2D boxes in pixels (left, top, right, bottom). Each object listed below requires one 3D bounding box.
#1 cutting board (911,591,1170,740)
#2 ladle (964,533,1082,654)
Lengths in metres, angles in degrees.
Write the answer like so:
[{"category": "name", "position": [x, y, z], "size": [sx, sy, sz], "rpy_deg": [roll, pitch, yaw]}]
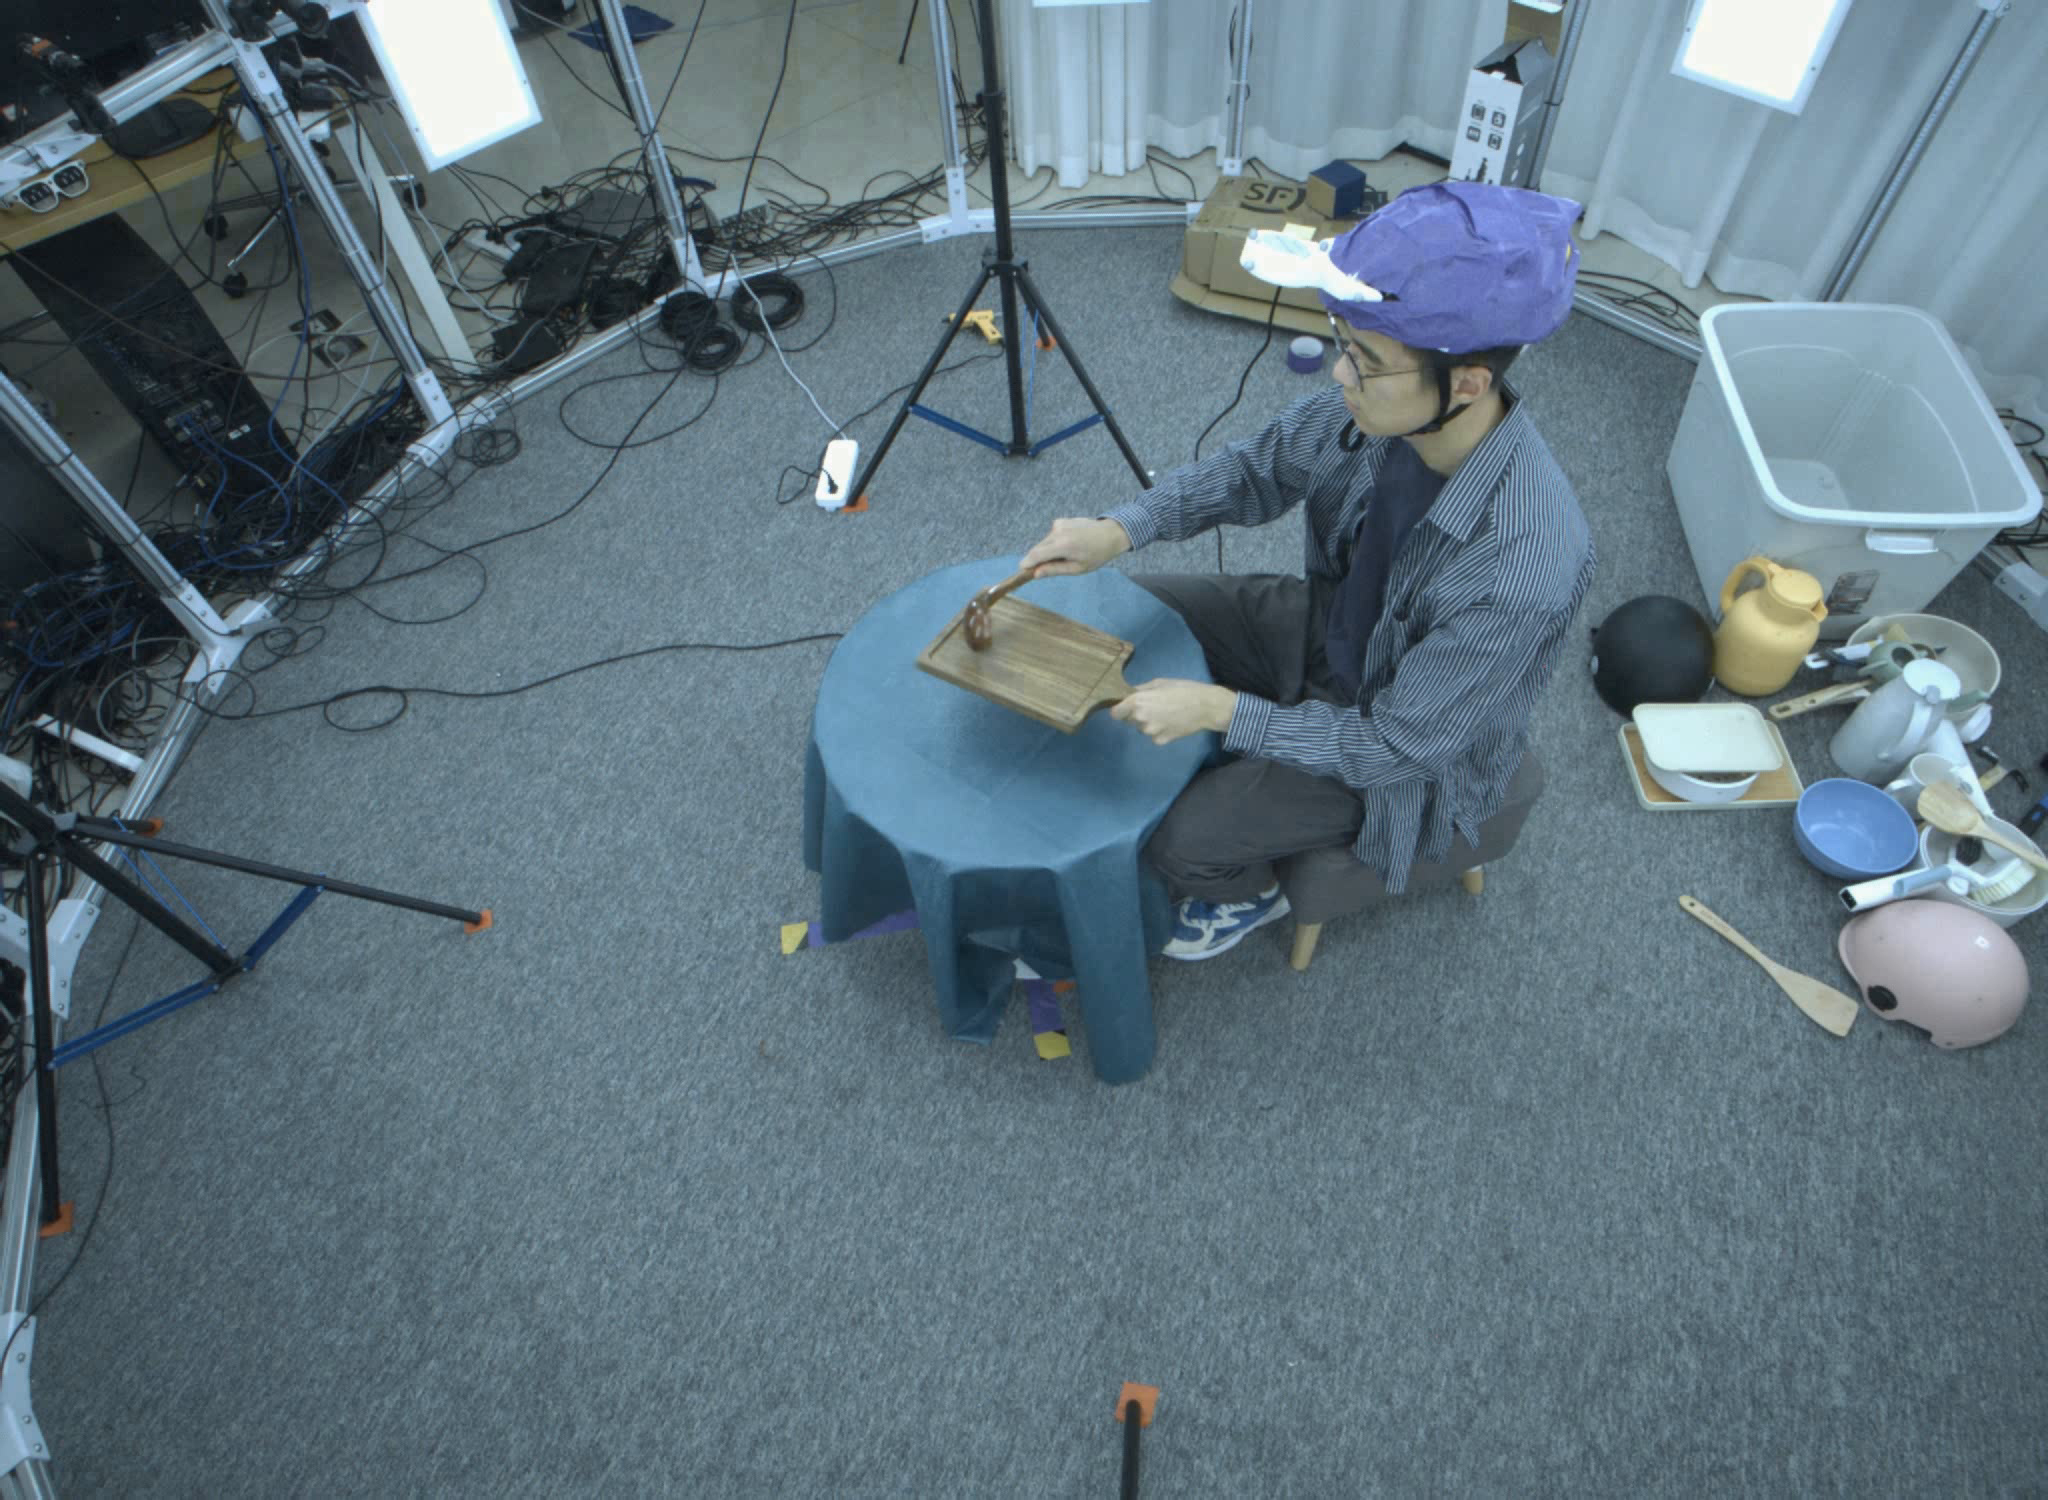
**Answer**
[{"category": "cutting board", "position": [0.040, -0.104, 1.708], "size": [0.348, 0.023, 0.202], "rpy_deg": [25, 48, 14]}, {"category": "ladle", "position": [0.013, -0.226, 1.725], "size": [0.076, 0.082, 0.277], "rpy_deg": [44, 55, 13]}]
